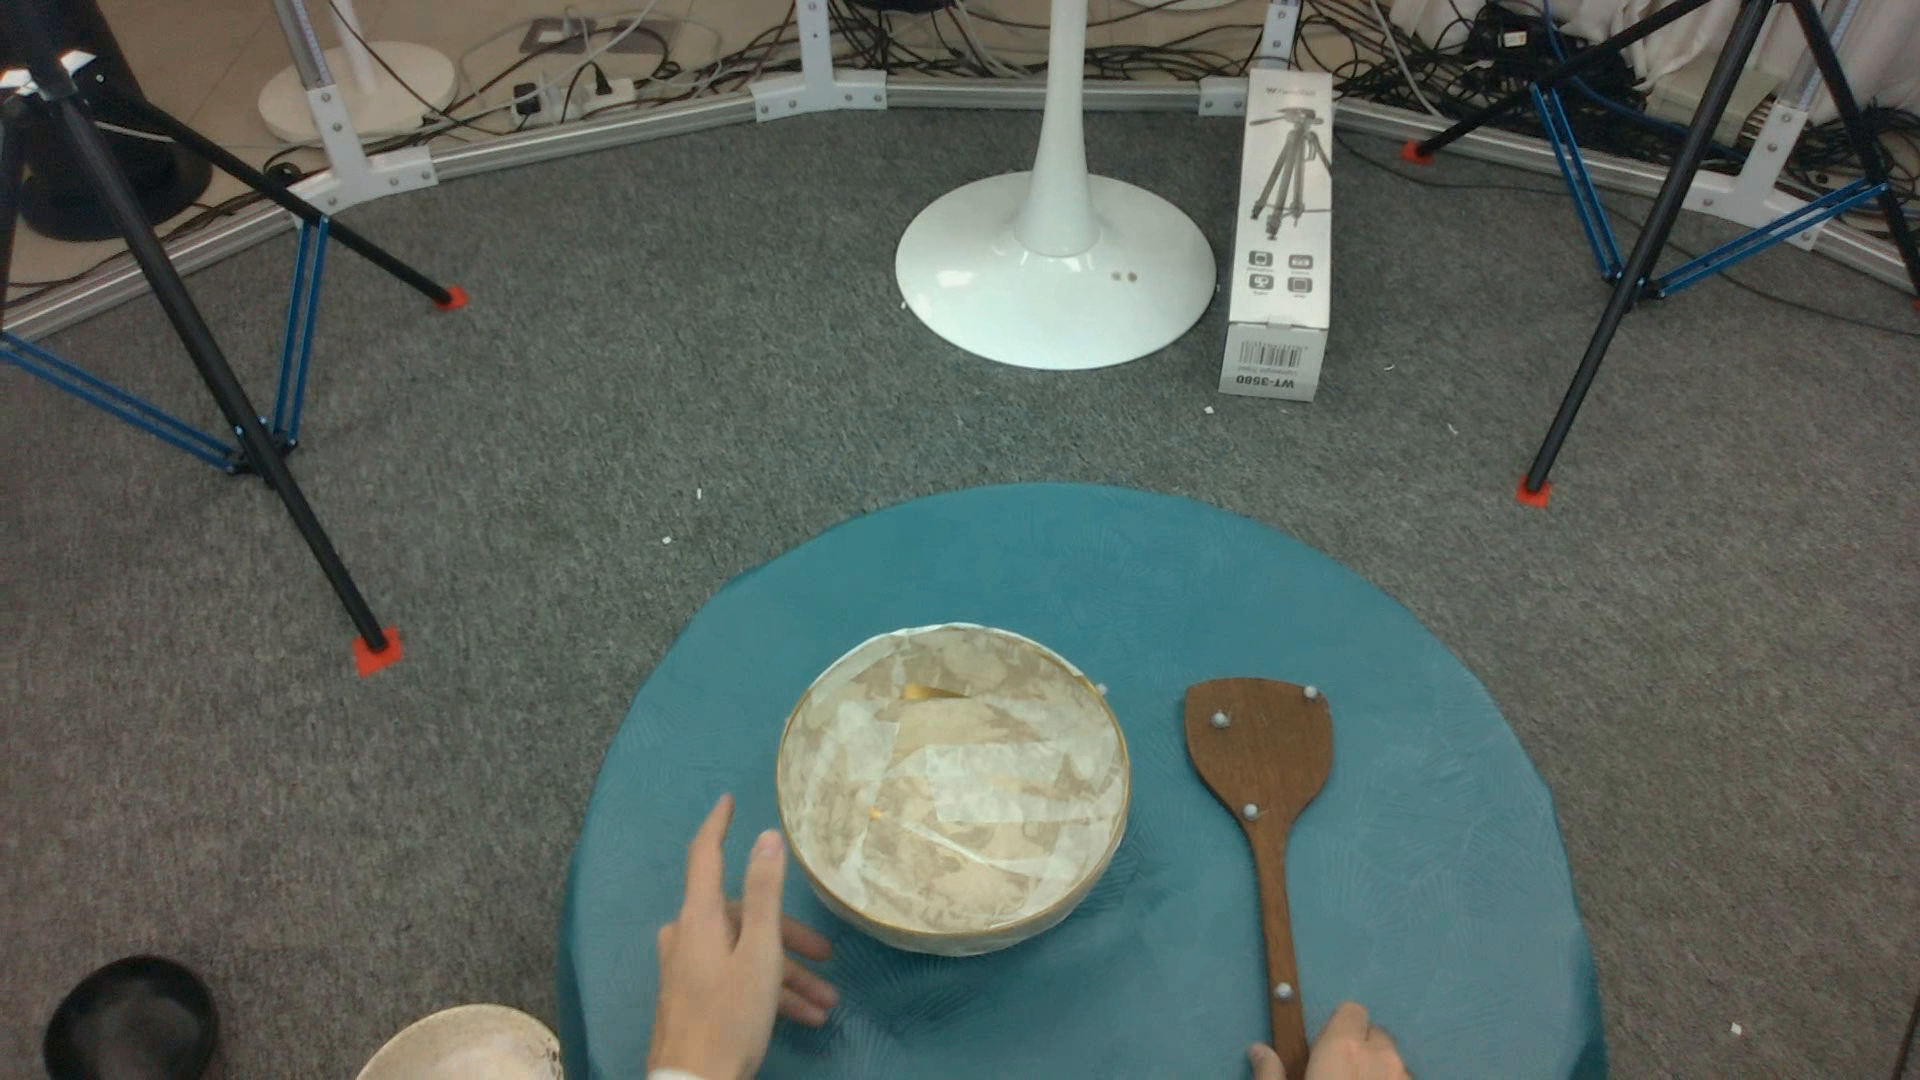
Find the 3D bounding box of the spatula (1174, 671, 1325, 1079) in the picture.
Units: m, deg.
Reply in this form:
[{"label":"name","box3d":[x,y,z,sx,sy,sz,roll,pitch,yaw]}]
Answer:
[{"label":"spatula","box3d":[0.176,0.233,0.780,0.096,0.016,0.388,3,48,2]}]

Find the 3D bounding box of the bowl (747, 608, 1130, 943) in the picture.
[{"label":"bowl","box3d":[-0.012,0.149,0.798,0.215,0.094,0.215,2,50,-2]}]
